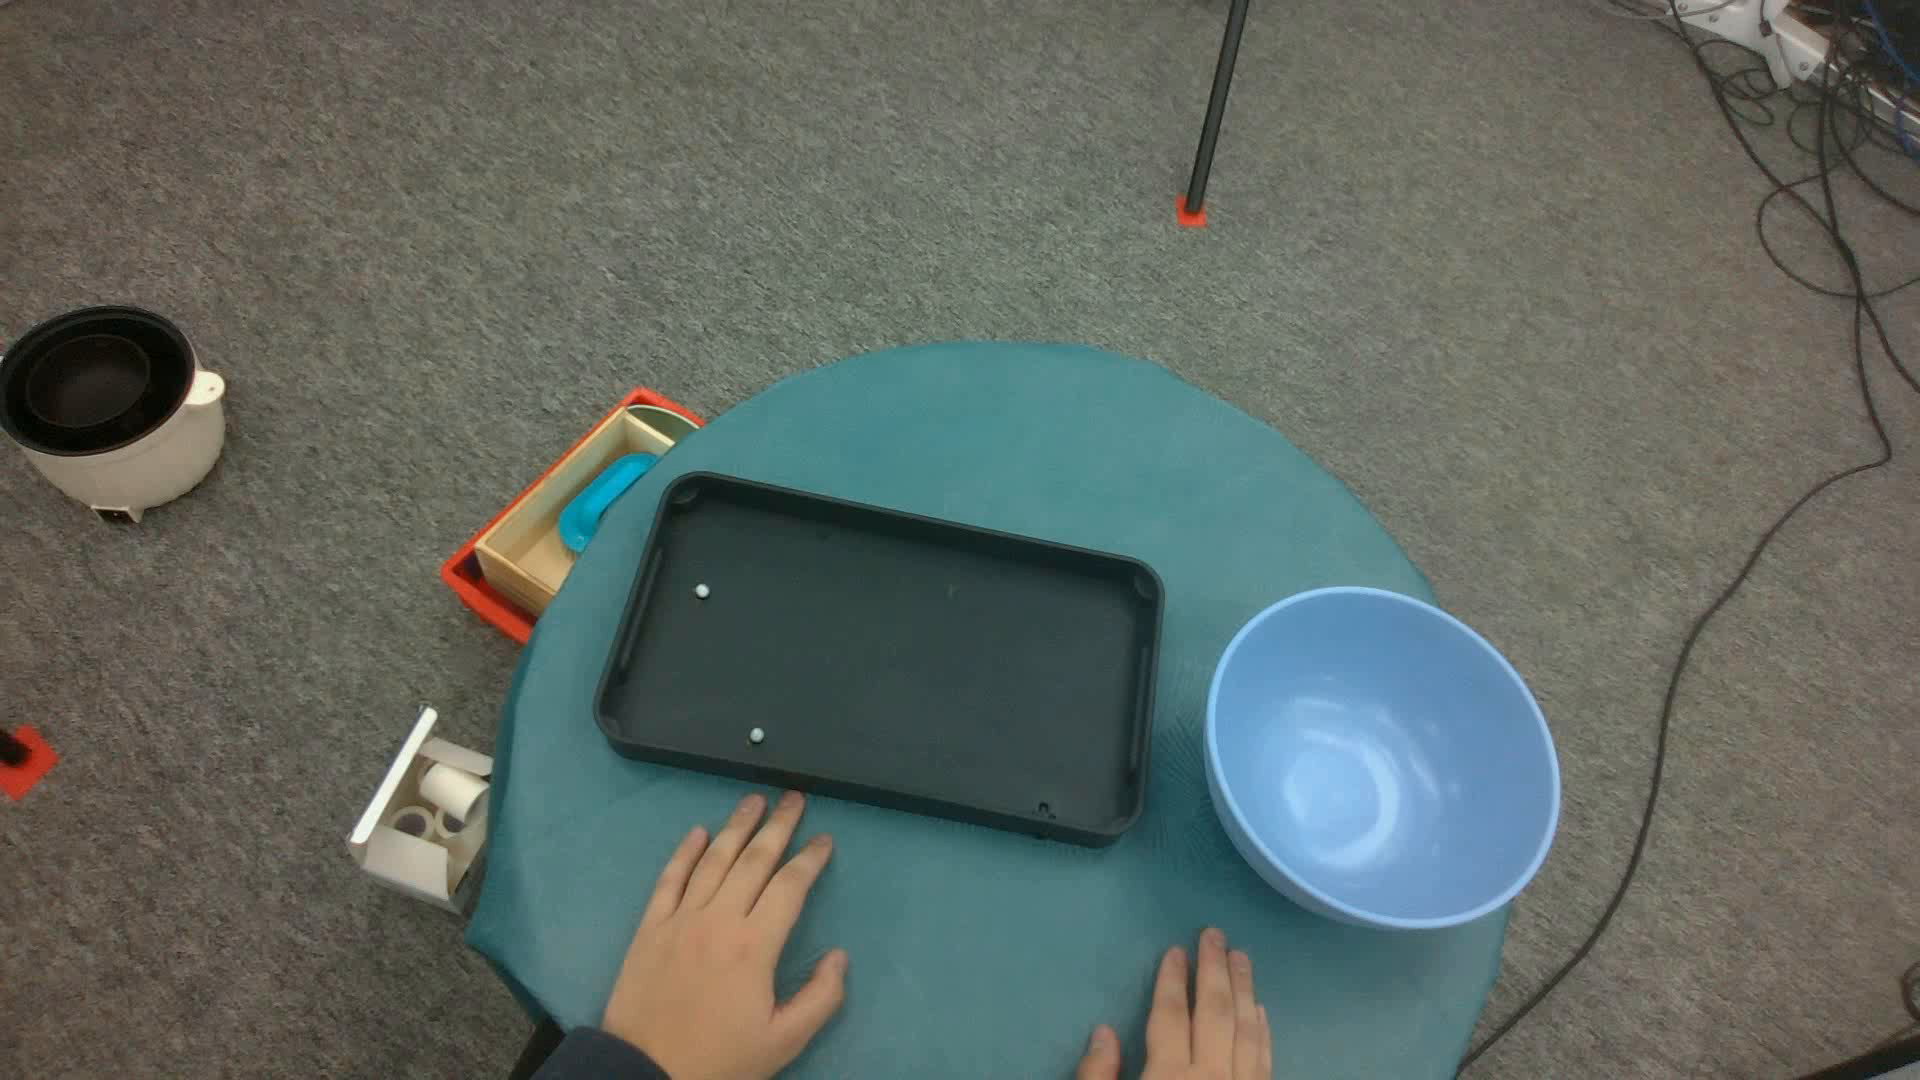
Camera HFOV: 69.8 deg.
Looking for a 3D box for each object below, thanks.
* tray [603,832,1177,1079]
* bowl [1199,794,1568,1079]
[{"bbox_3d":[-0.044,0.271,0.811,0.318,0.037,0.185,-4,46,-2],"label":"tray"},{"bbox_3d":[0.229,0.253,0.781,0.196,0.095,0.197,0,45,0],"label":"bowl"}]
